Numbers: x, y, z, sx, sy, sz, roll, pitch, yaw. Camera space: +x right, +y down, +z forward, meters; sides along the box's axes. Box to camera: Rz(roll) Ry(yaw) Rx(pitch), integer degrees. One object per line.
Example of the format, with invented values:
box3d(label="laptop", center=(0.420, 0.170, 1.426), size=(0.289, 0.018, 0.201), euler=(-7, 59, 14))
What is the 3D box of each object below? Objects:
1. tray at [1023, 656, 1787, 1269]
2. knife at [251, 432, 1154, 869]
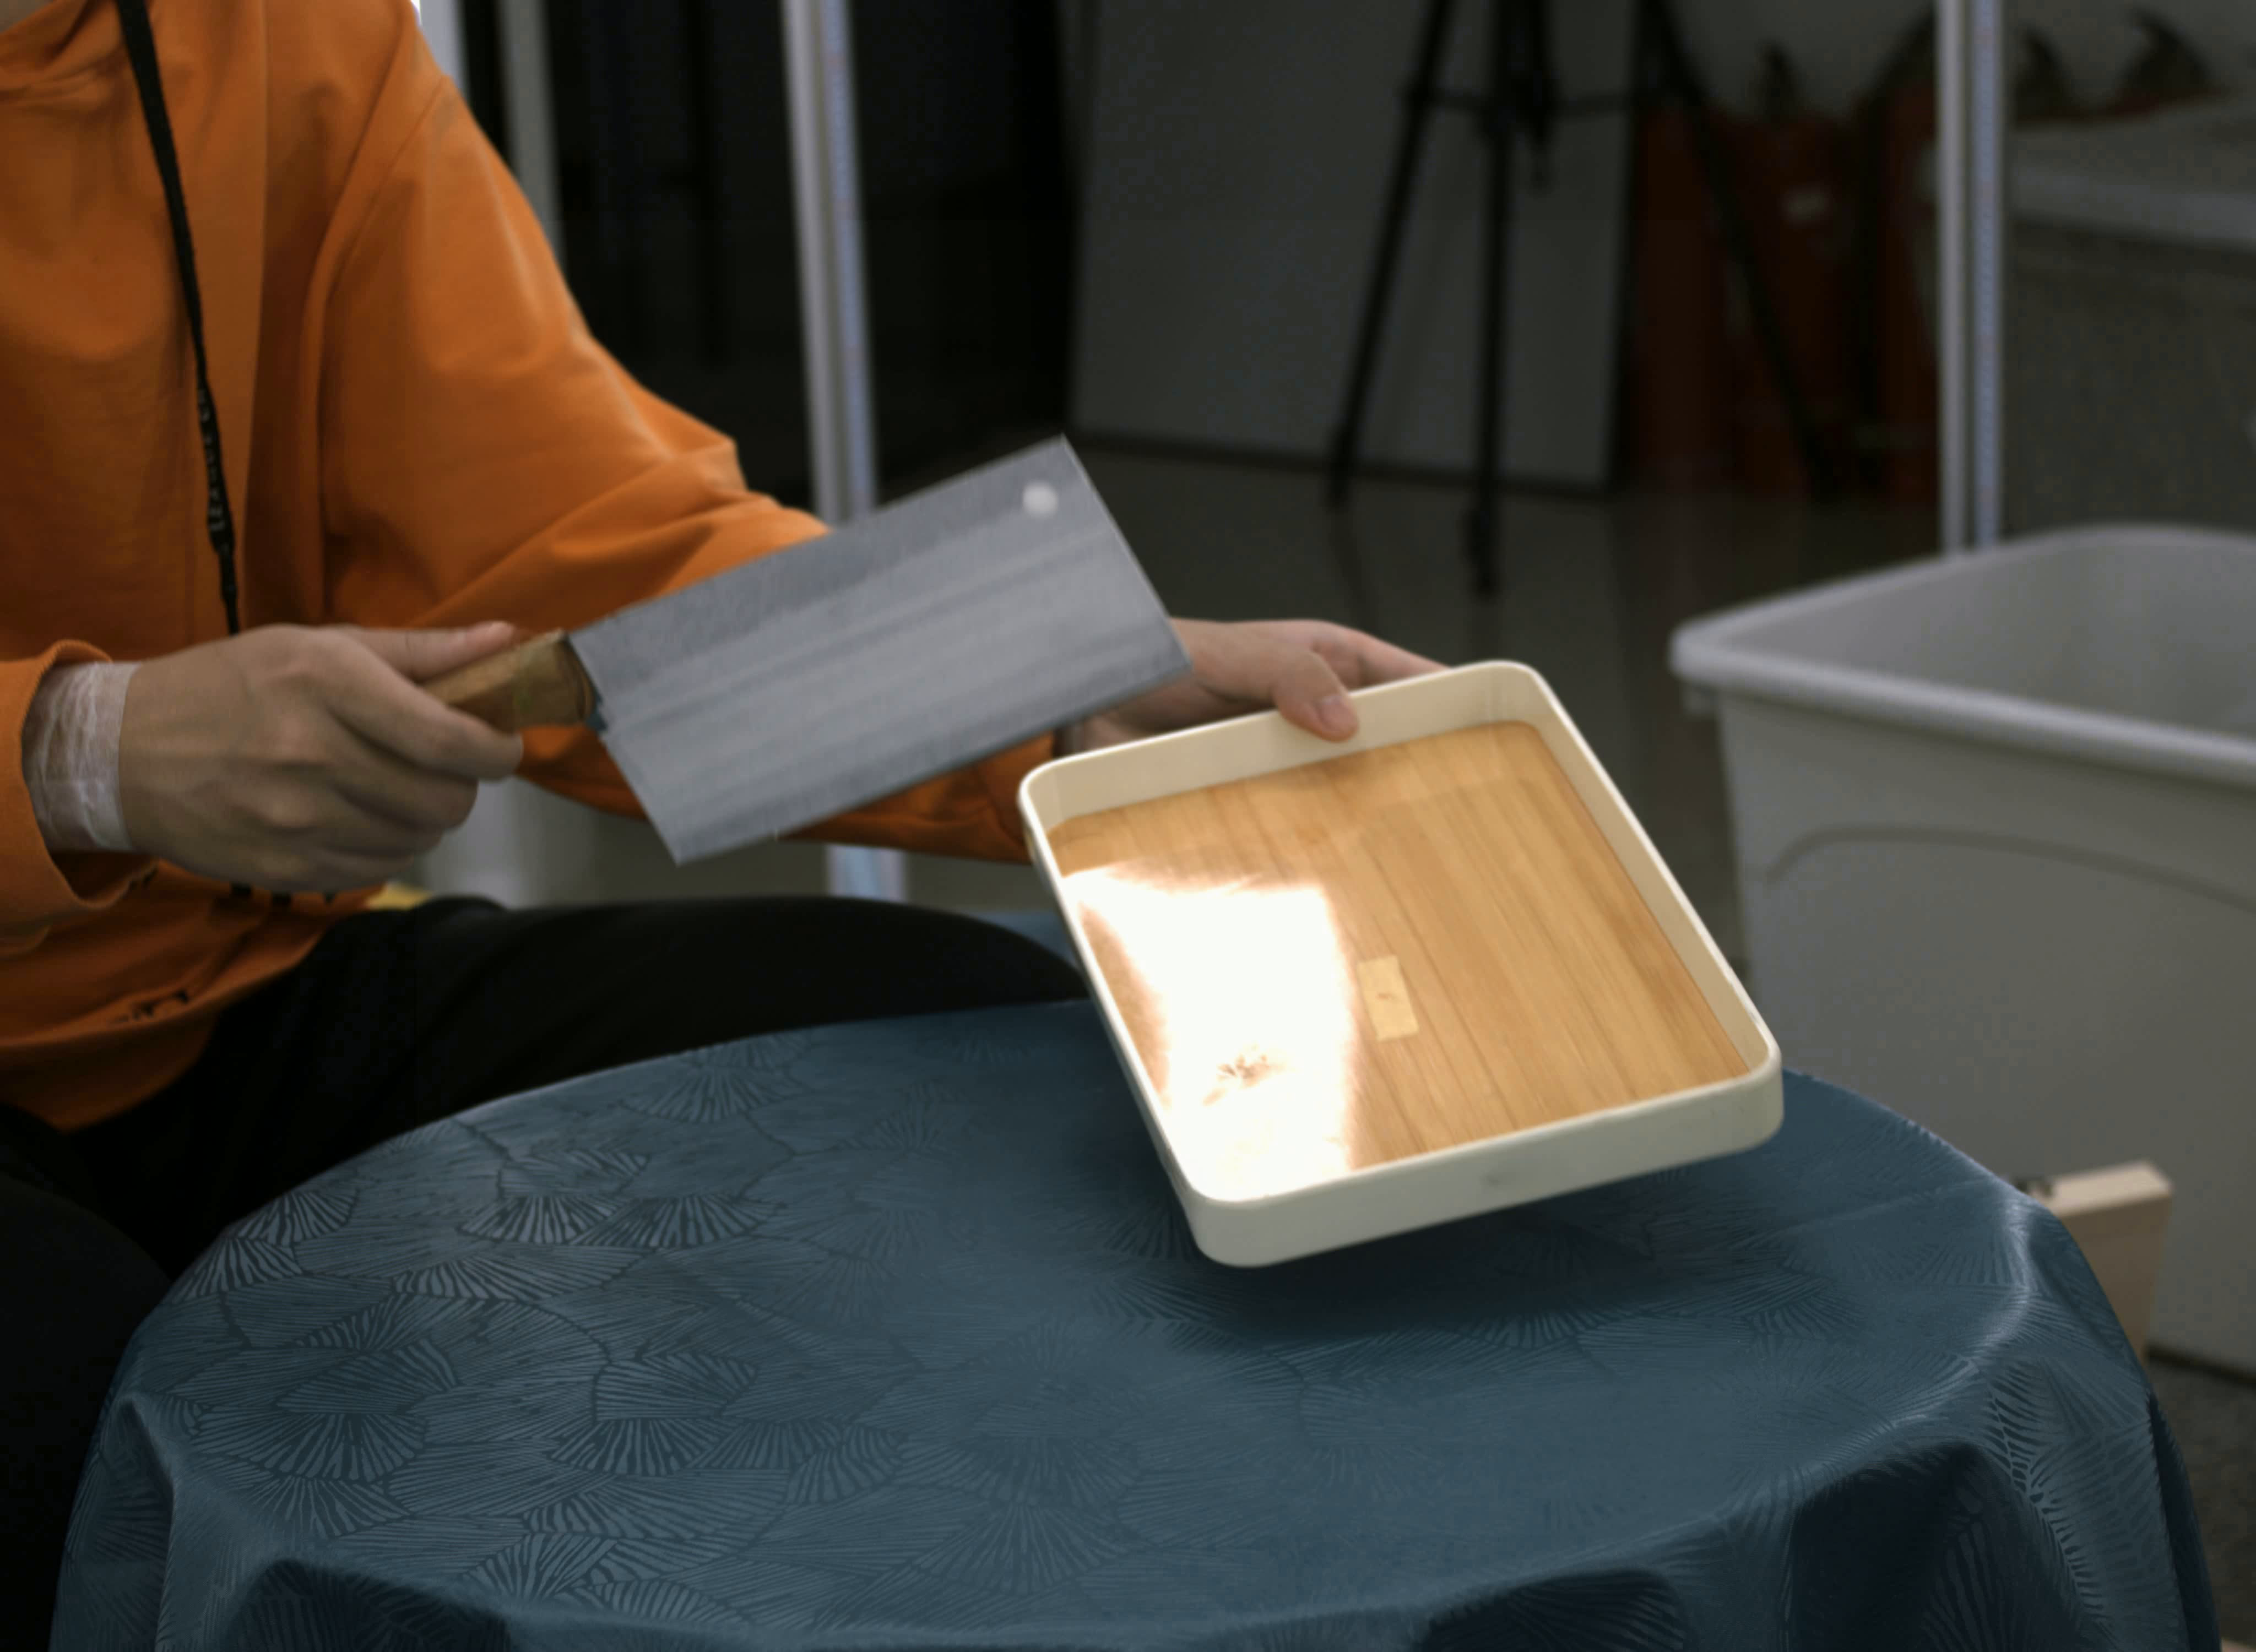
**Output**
box3d(label="tray", center=(0.083, 0.038, 1.750), size=(0.189, 0.027, 0.303), euler=(-14, 29, -5))
box3d(label="knife", center=(-0.132, -0.034, 1.685), size=(0.306, 0.093, 0.021), euler=(-21, 25, 23))
